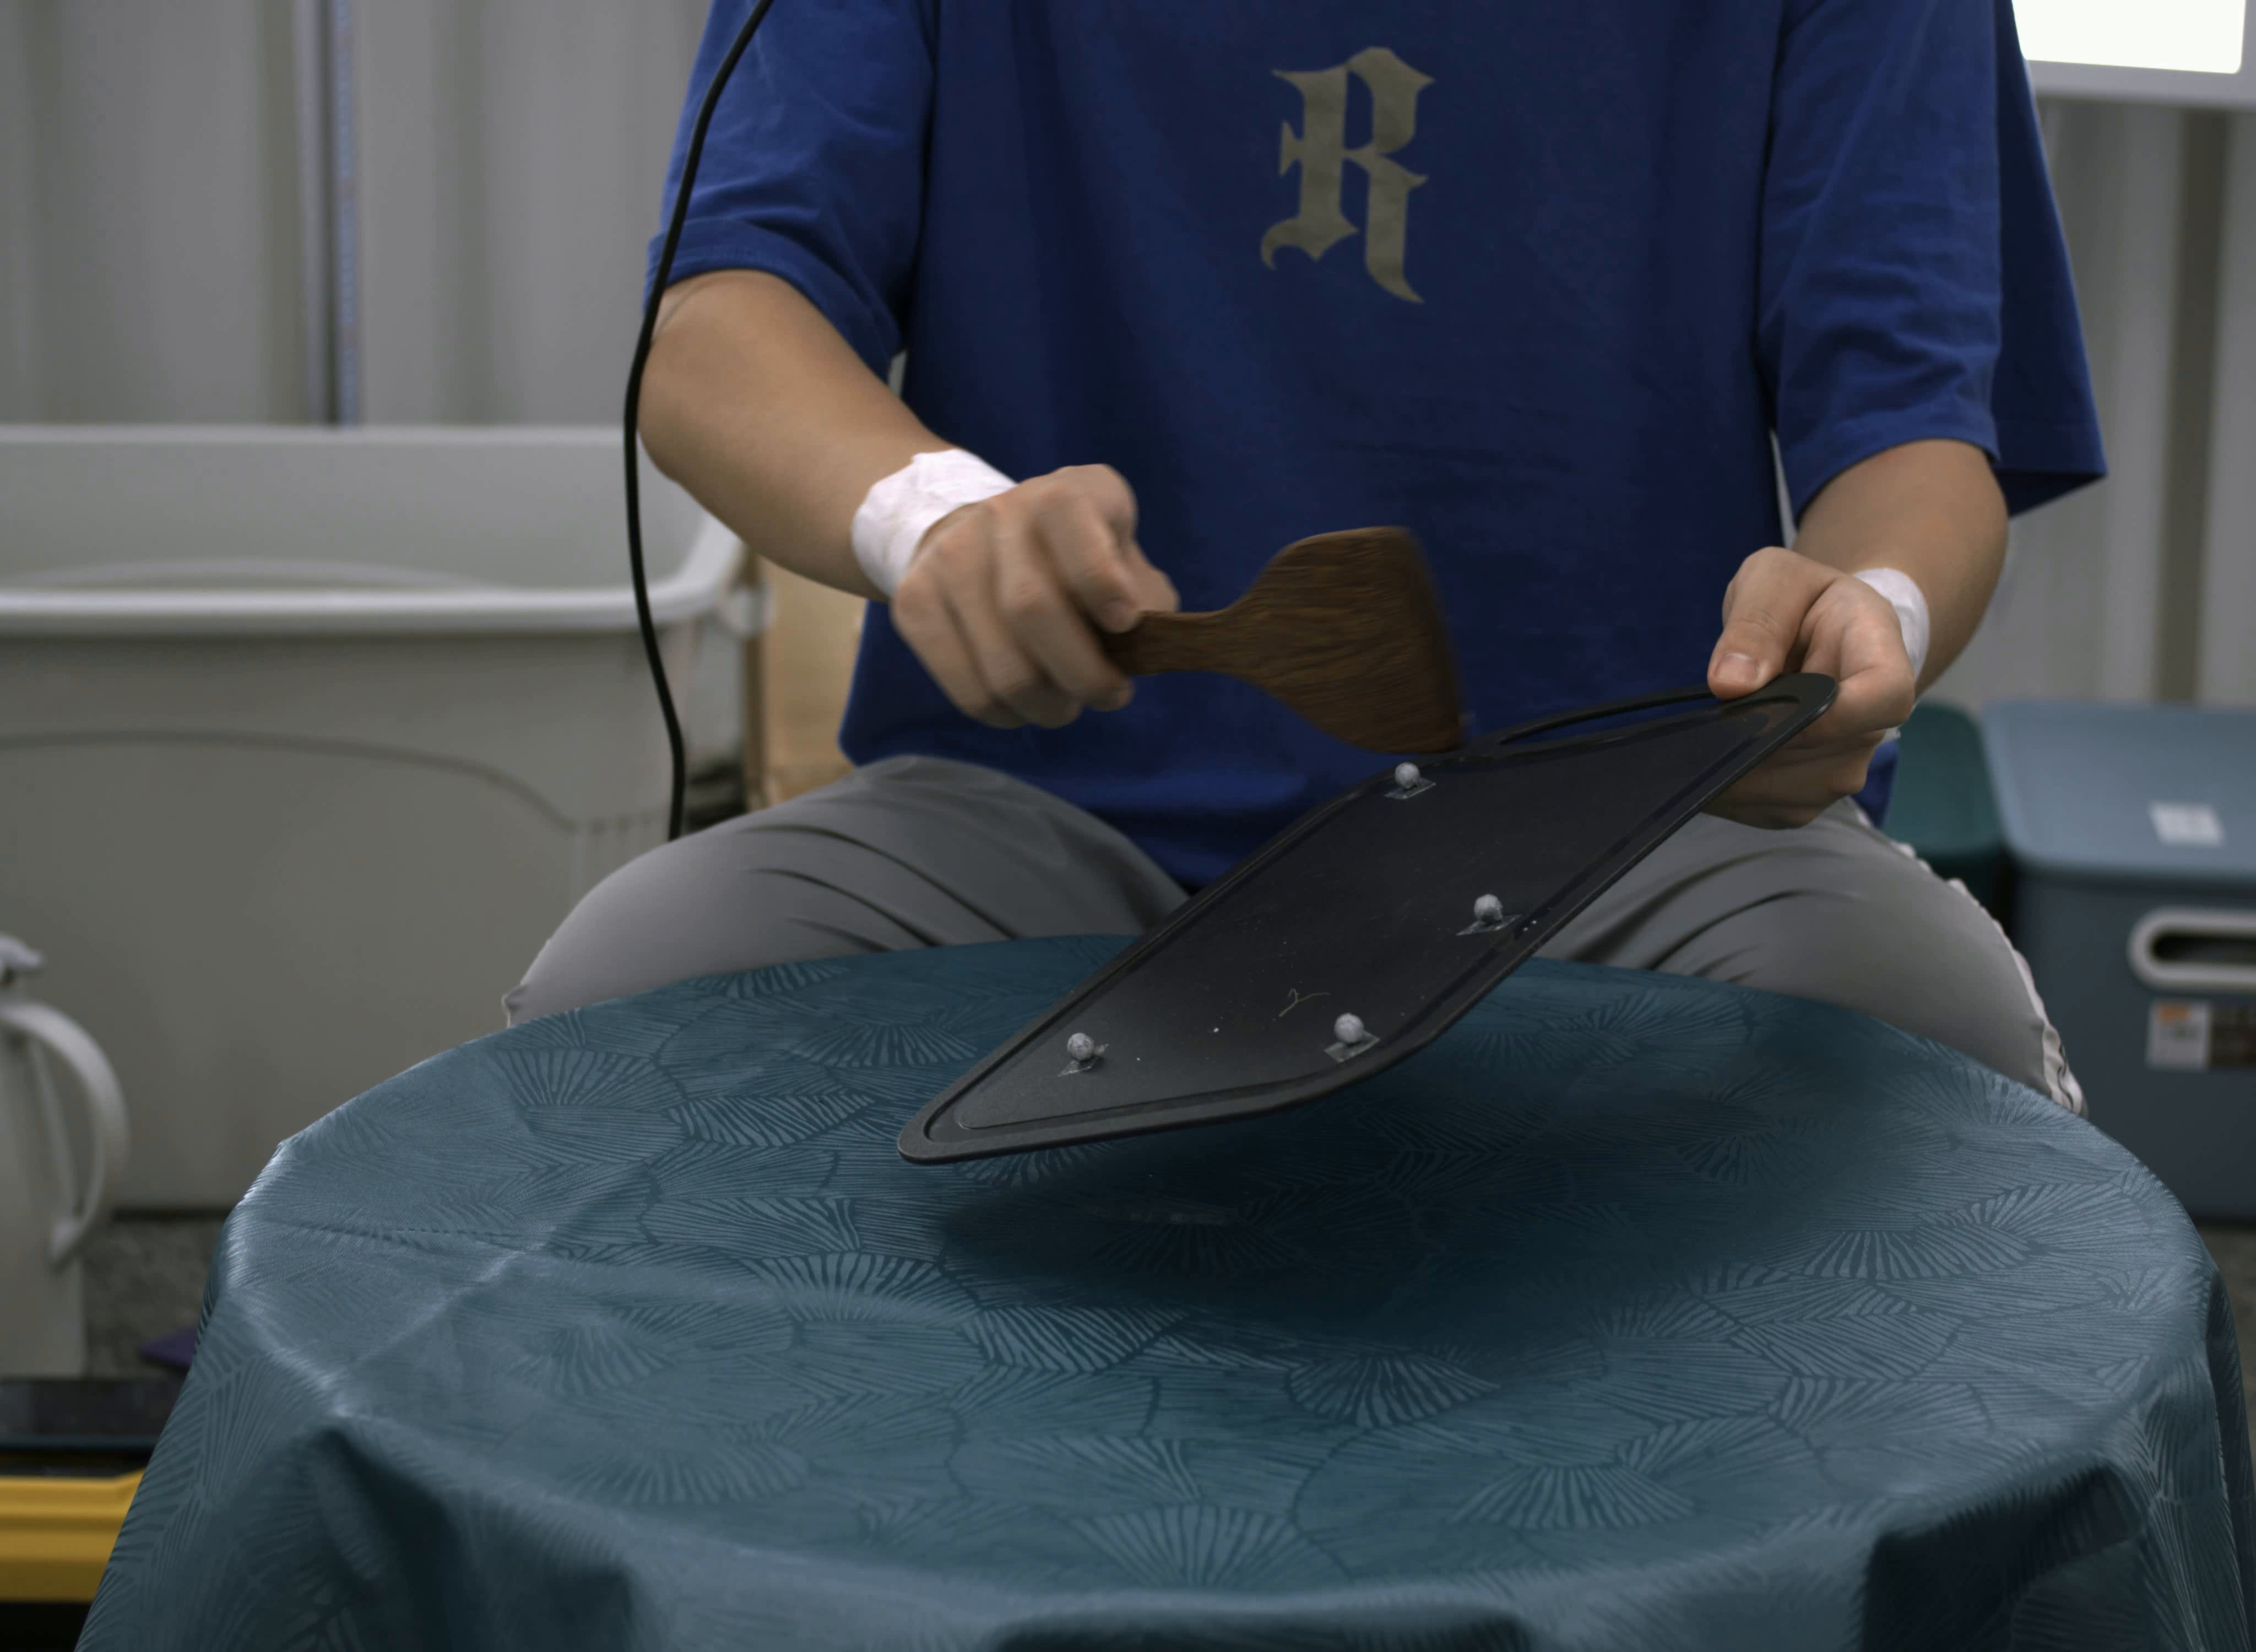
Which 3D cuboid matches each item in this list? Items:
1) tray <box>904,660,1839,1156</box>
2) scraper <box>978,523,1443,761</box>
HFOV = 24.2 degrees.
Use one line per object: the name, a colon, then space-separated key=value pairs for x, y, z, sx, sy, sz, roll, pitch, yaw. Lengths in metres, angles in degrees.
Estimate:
tray: x=0.081 y=0.019 z=1.624 sx=0.209 sy=0.010 sz=0.326 roll=-12 pitch=17 yaw=43
scraper: x=0.019 y=-0.057 z=1.643 sx=0.011 sy=0.076 sz=0.209 roll=-30 pitch=20 yaw=-34
